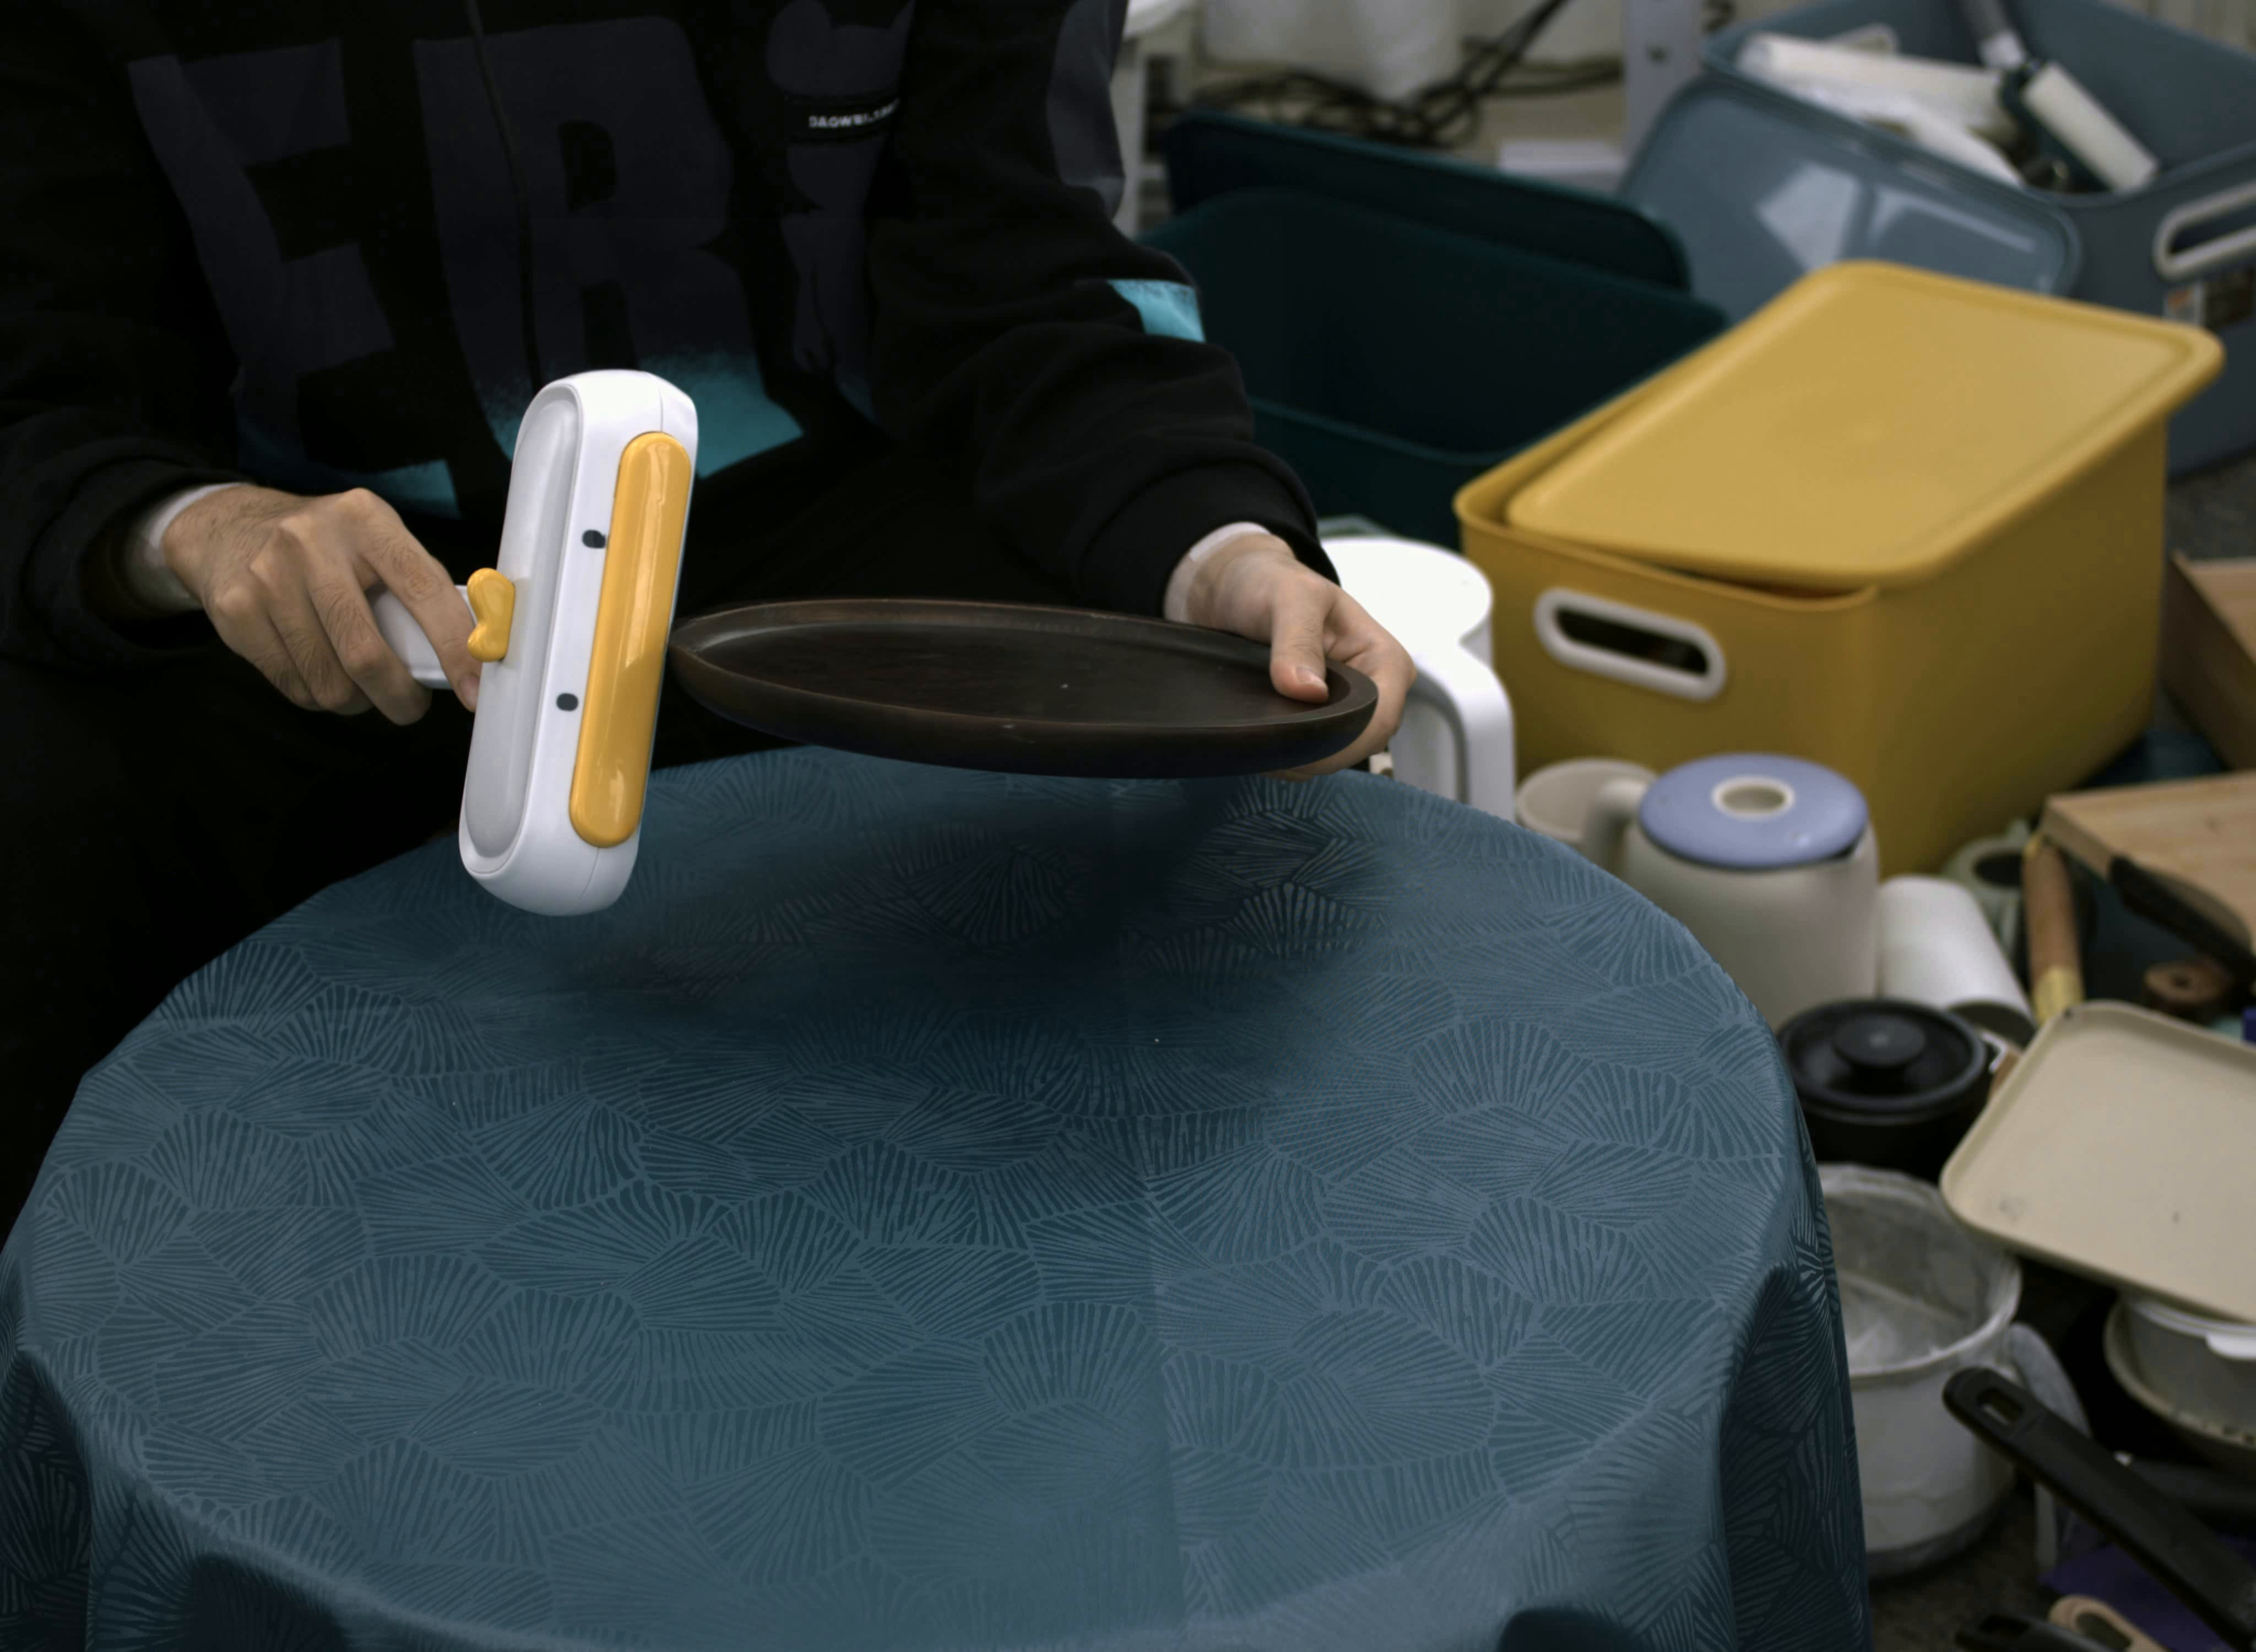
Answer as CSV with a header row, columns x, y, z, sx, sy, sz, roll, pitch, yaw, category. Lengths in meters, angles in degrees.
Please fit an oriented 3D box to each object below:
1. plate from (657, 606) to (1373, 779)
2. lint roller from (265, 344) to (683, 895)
x,y,z,sx,sy,sz,roll,pitch,yaw,category
-0.040,-0.049,1.979,0.253,0.029,0.256,5,9,0,plate
-0.233,-0.069,1.999,0.074,0.194,0.190,8,-10,-39,lint roller
